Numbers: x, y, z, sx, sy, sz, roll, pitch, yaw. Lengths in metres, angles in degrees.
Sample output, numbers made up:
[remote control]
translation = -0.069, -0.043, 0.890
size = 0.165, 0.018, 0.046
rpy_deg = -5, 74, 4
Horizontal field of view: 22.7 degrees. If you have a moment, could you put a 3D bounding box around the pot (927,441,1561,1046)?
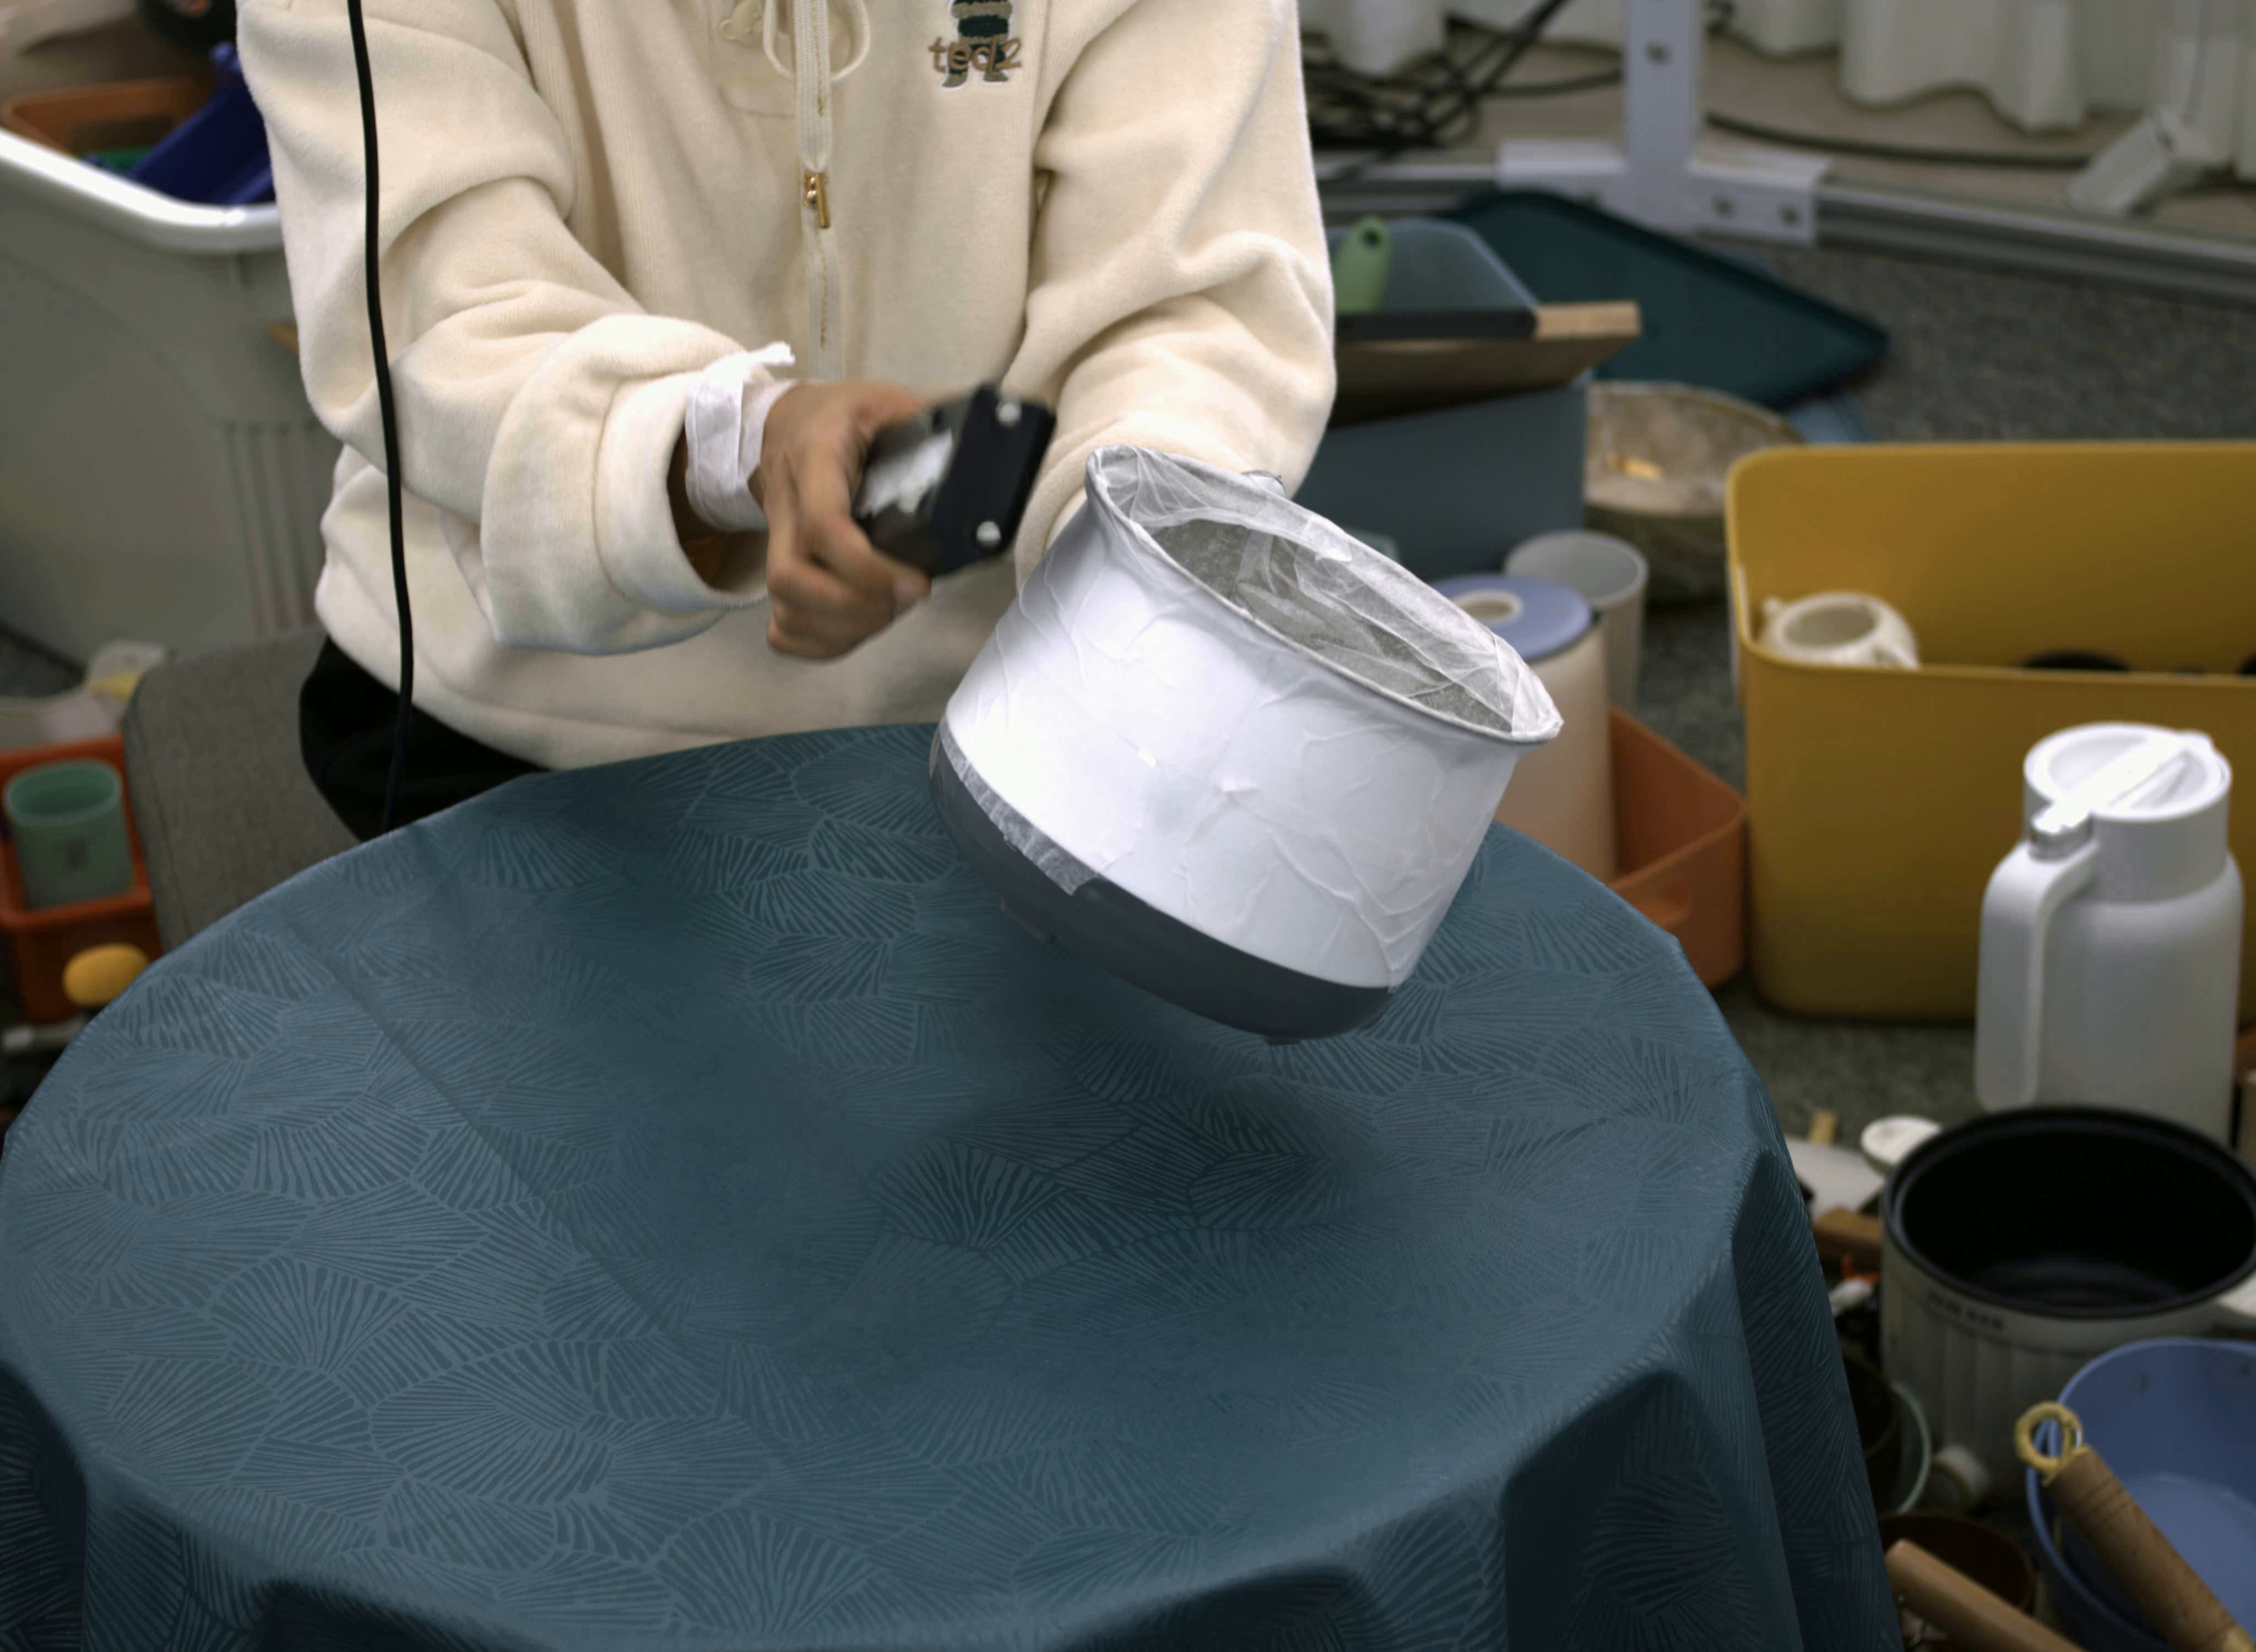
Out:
[pot]
translation = 0.028, -0.035, 1.861
size = 0.178, 0.135, 0.236
rpy_deg = 25, 16, -20

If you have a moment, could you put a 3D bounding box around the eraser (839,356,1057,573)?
[eraser]
translation = -0.059, -0.116, 1.818
size = 0.030, 0.054, 0.124
rpy_deg = 23, -10, -14
